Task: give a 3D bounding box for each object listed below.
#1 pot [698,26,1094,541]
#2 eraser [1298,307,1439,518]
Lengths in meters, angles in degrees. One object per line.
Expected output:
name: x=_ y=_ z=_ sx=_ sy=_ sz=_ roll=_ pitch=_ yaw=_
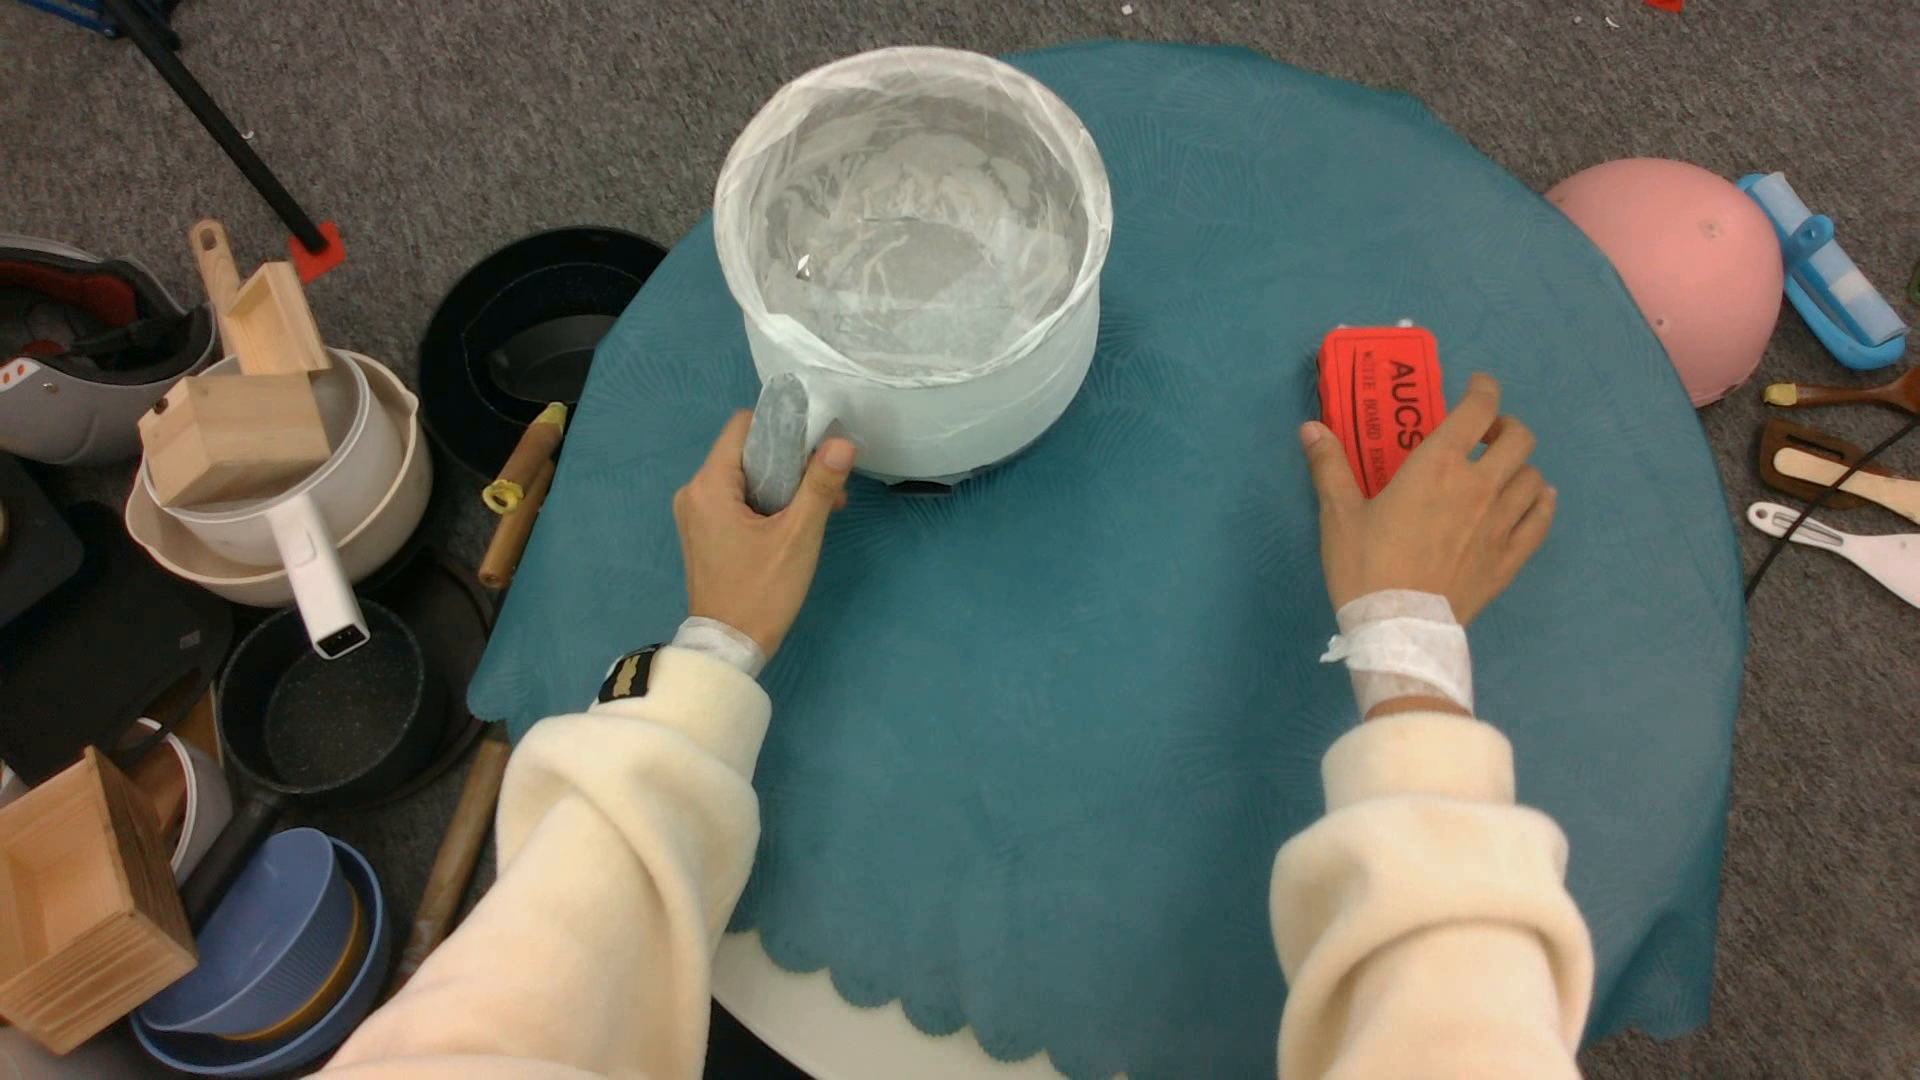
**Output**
pot: x=-0.040 y=-0.112 z=0.661 sx=0.178 sy=0.136 sz=0.234 roll=27 pitch=71 yaw=12
eraser: x=0.206 y=-0.066 z=0.700 sx=0.059 sy=0.023 sz=0.108 roll=-2 pitch=71 yaw=2
